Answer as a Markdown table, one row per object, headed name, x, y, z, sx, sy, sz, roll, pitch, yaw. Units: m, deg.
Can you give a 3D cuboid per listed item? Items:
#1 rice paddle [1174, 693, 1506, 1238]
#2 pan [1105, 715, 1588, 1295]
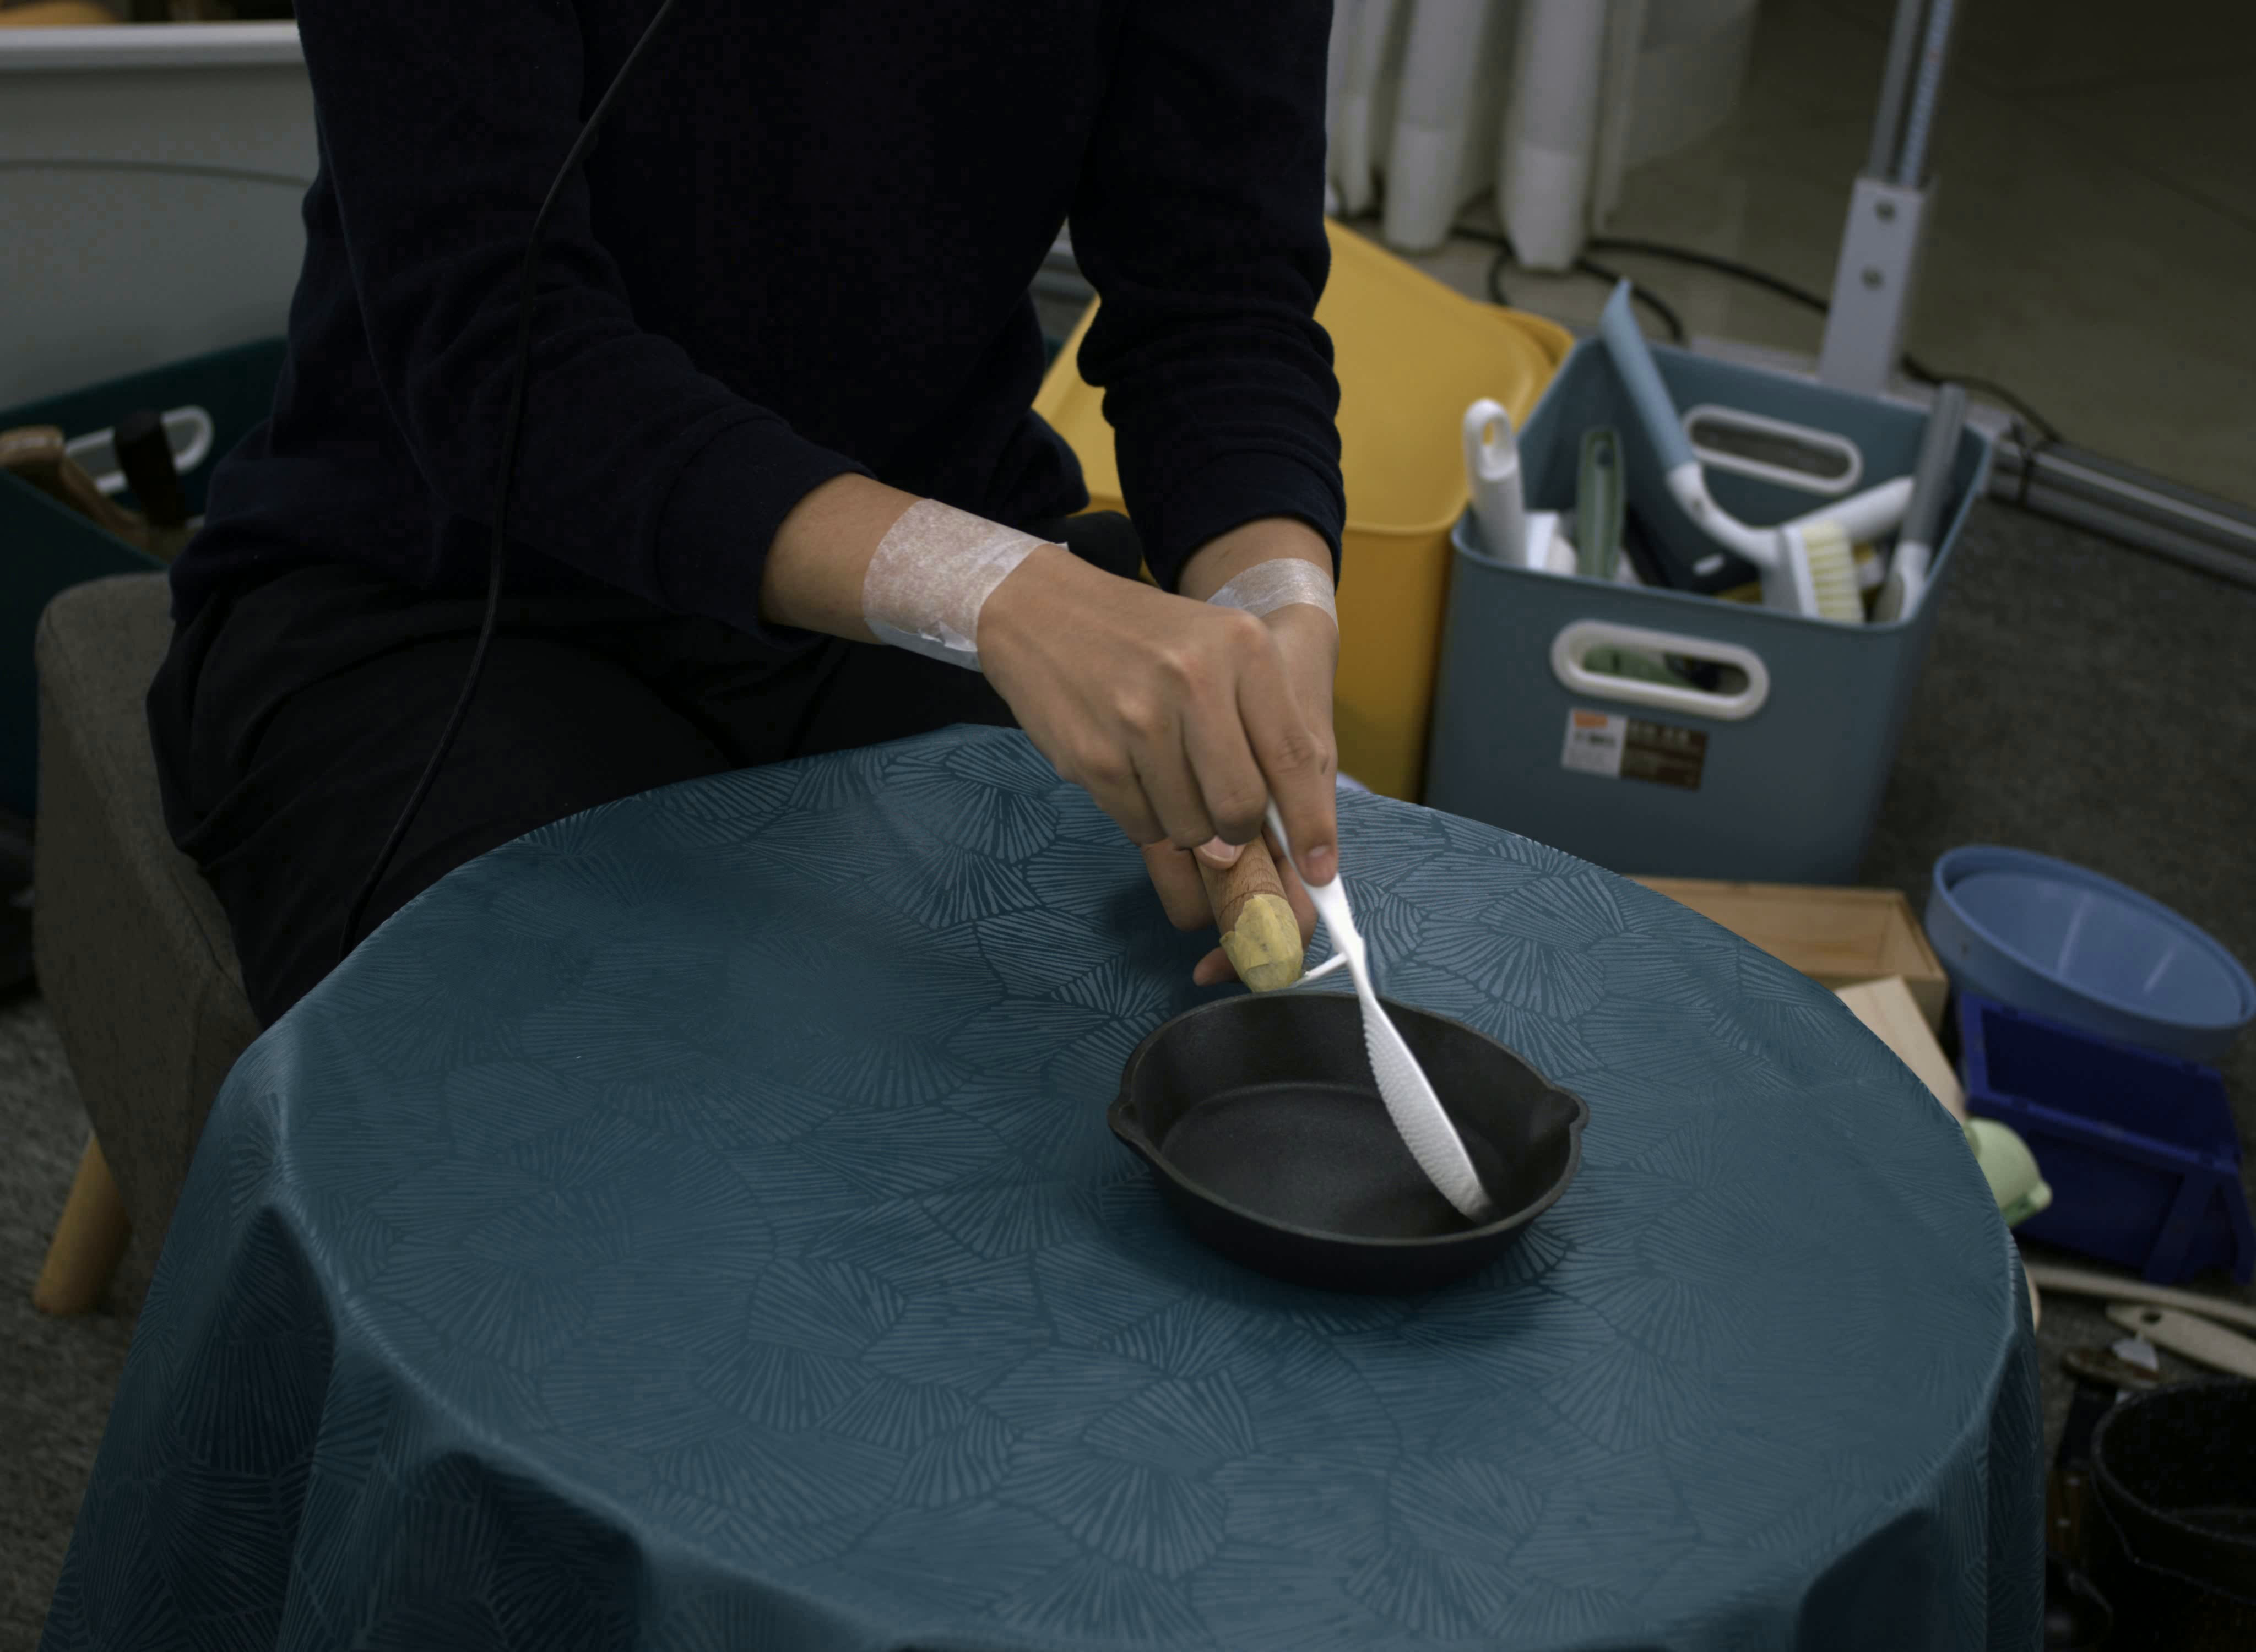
| name | x | y | z | sx | sy | sz | roll | pitch | yaw |
| --- | --- | --- | --- | --- | --- | --- | --- | --- | --- |
| rice paddle | 0.078 | 0.049 | 1.800 | 0.029 | 0.206 | 0.068 | -30 | -11 | 0 |
| pan | 0.058 | 0.060 | 1.872 | 0.168 | 0.049 | 0.327 | 0 | 31 | -13 |
